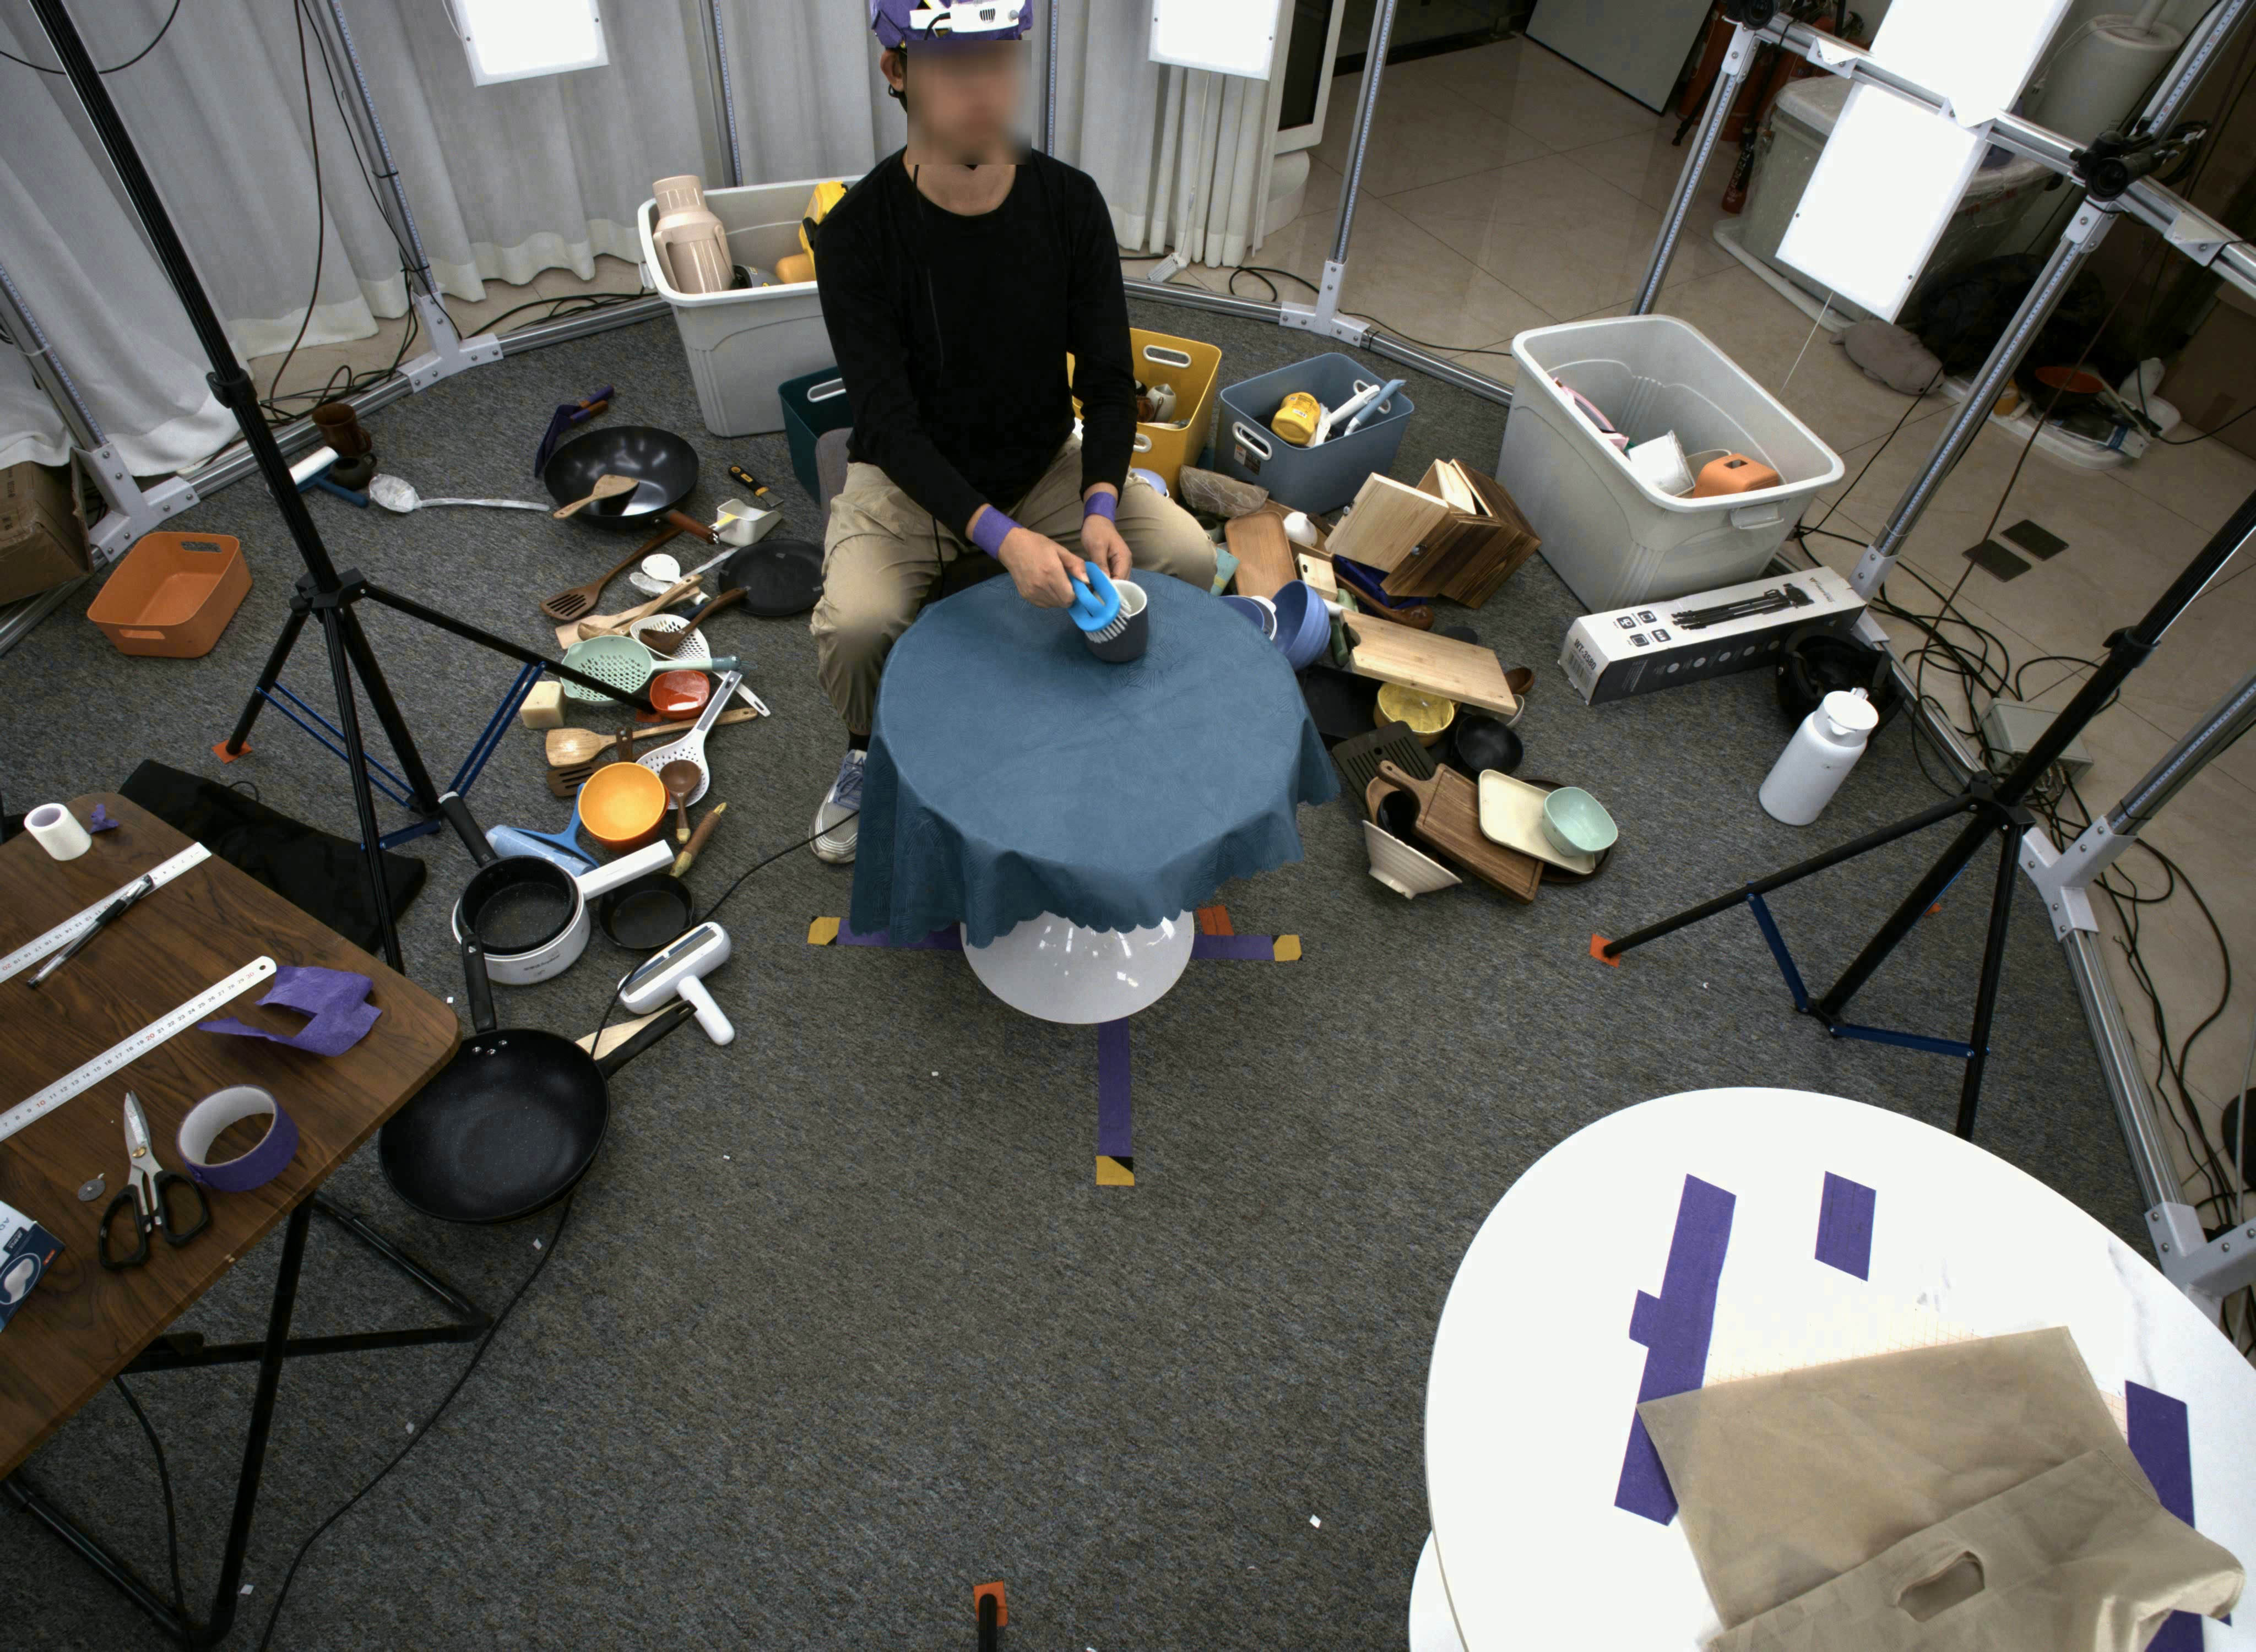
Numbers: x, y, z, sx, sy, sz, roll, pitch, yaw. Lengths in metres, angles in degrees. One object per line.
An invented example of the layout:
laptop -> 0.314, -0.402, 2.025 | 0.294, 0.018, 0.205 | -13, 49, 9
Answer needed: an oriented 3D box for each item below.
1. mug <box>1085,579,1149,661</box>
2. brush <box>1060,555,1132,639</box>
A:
mug -> -0.018, -0.309, 1.873 | 0.093, 0.088, 0.126 | -10, 52, -14
brush -> -0.055, -0.331, 1.823 | 0.084, 0.062, 0.145 | -41, 49, 14
